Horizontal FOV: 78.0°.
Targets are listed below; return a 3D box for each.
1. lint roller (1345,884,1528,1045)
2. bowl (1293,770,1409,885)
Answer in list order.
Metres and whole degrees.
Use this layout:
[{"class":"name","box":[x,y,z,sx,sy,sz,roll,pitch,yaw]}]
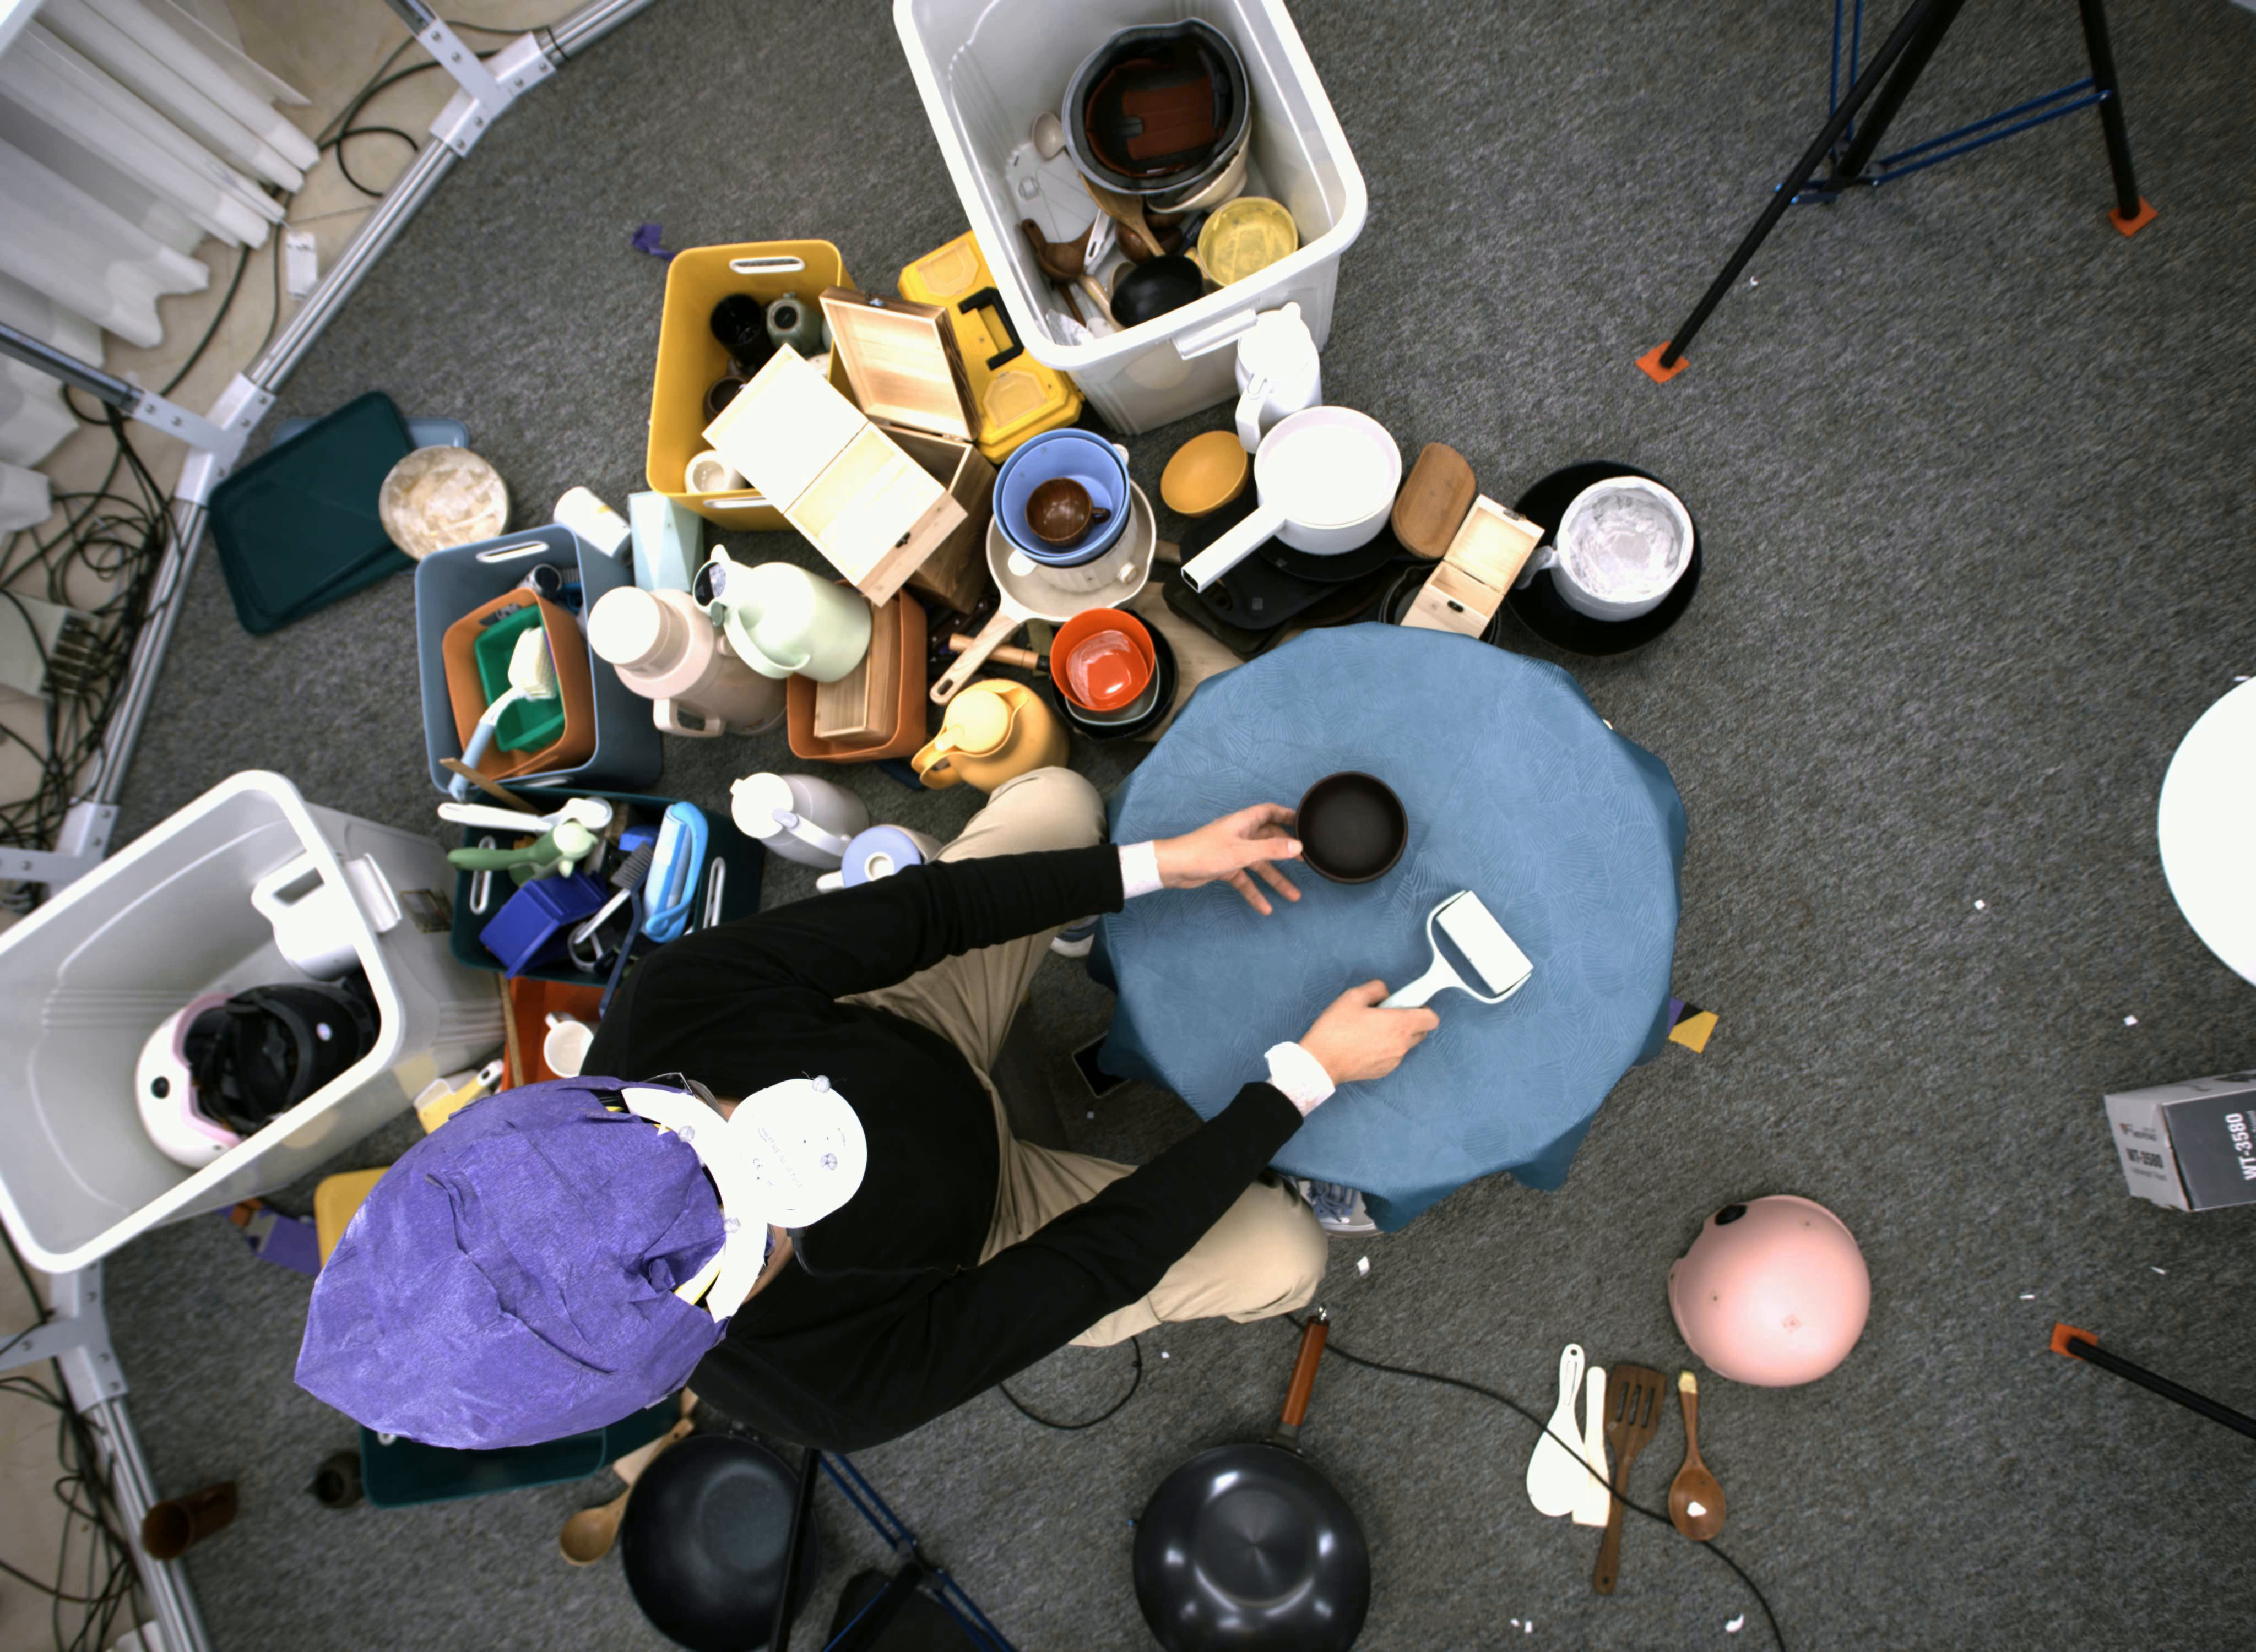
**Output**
[{"class":"lint roller","box":[0.301,0.154,1.414,0.197,0.049,0.116,-36,81,-1]},{"class":"bowl","box":[0.232,0.002,1.435,0.118,0.070,0.117,-1,87,11]}]
